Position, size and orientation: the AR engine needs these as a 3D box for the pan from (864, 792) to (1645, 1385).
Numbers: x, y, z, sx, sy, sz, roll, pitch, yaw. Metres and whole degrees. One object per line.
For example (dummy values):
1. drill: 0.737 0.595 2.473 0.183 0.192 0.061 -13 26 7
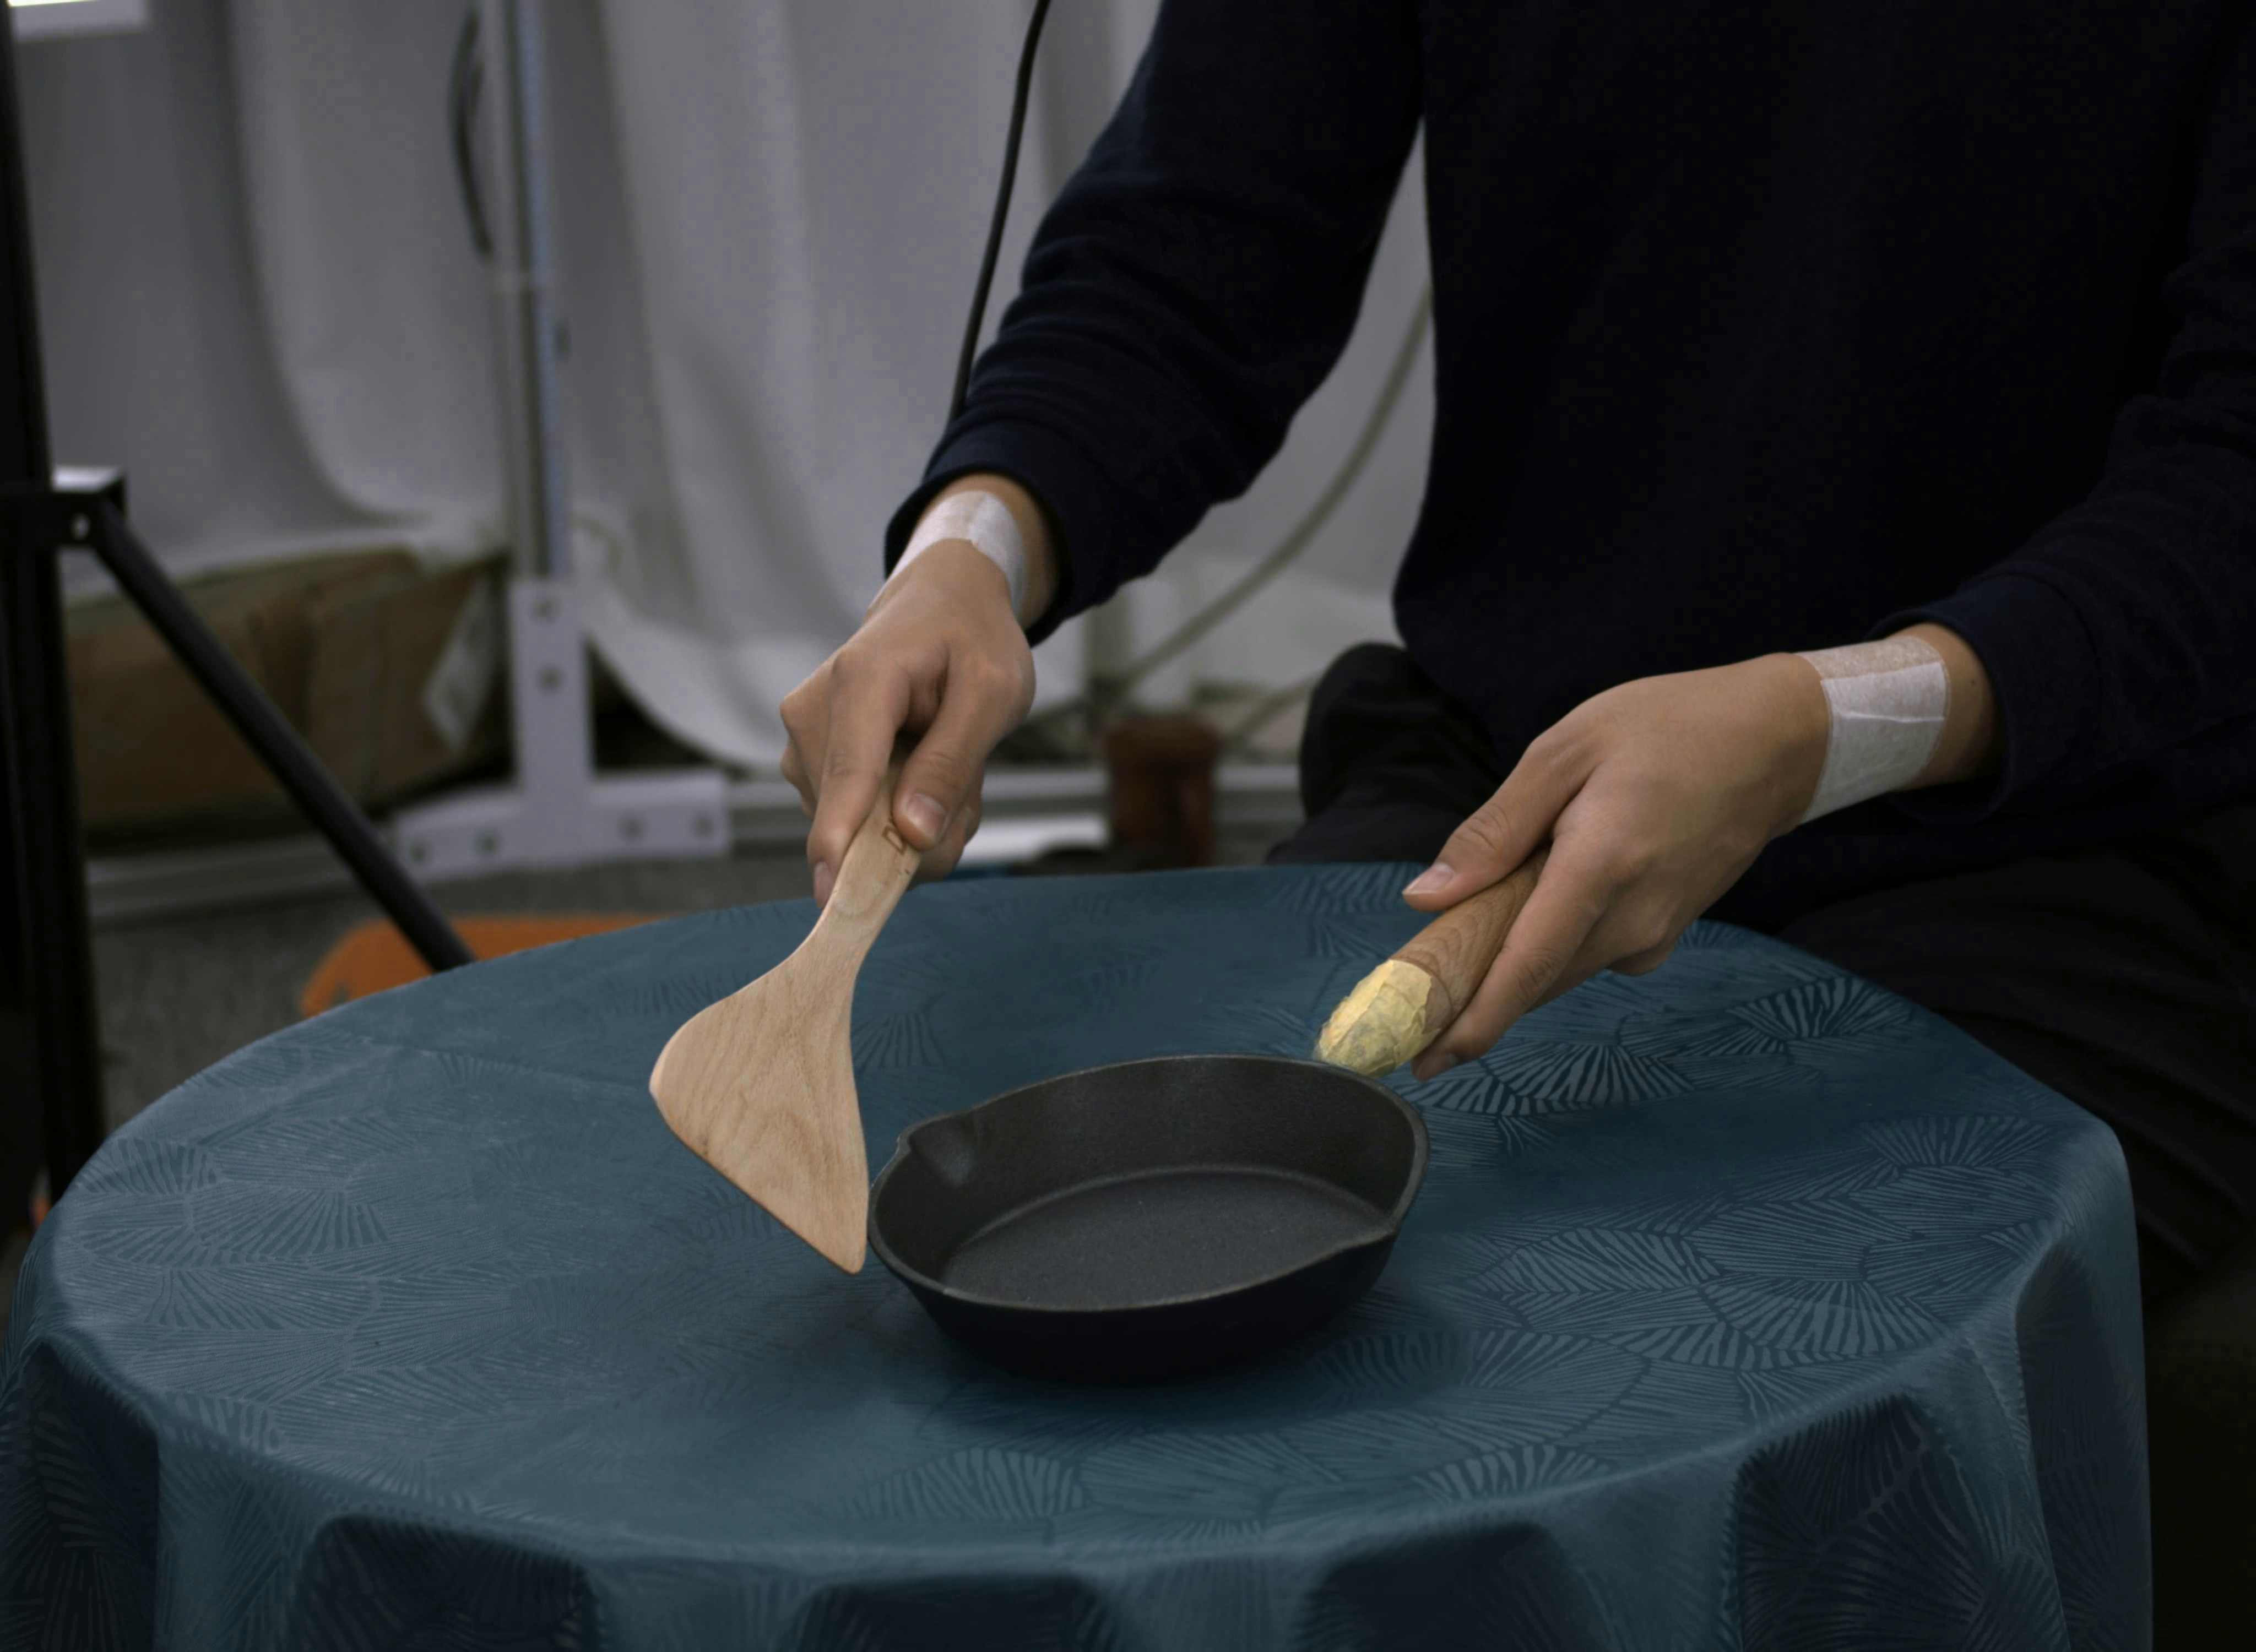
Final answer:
1. pan: 0.059 0.071 1.513 0.172 0.049 0.318 10 30 40

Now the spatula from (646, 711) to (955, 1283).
1. spatula: -0.081 0.037 1.547 0.016 0.079 0.327 -42 13 23
